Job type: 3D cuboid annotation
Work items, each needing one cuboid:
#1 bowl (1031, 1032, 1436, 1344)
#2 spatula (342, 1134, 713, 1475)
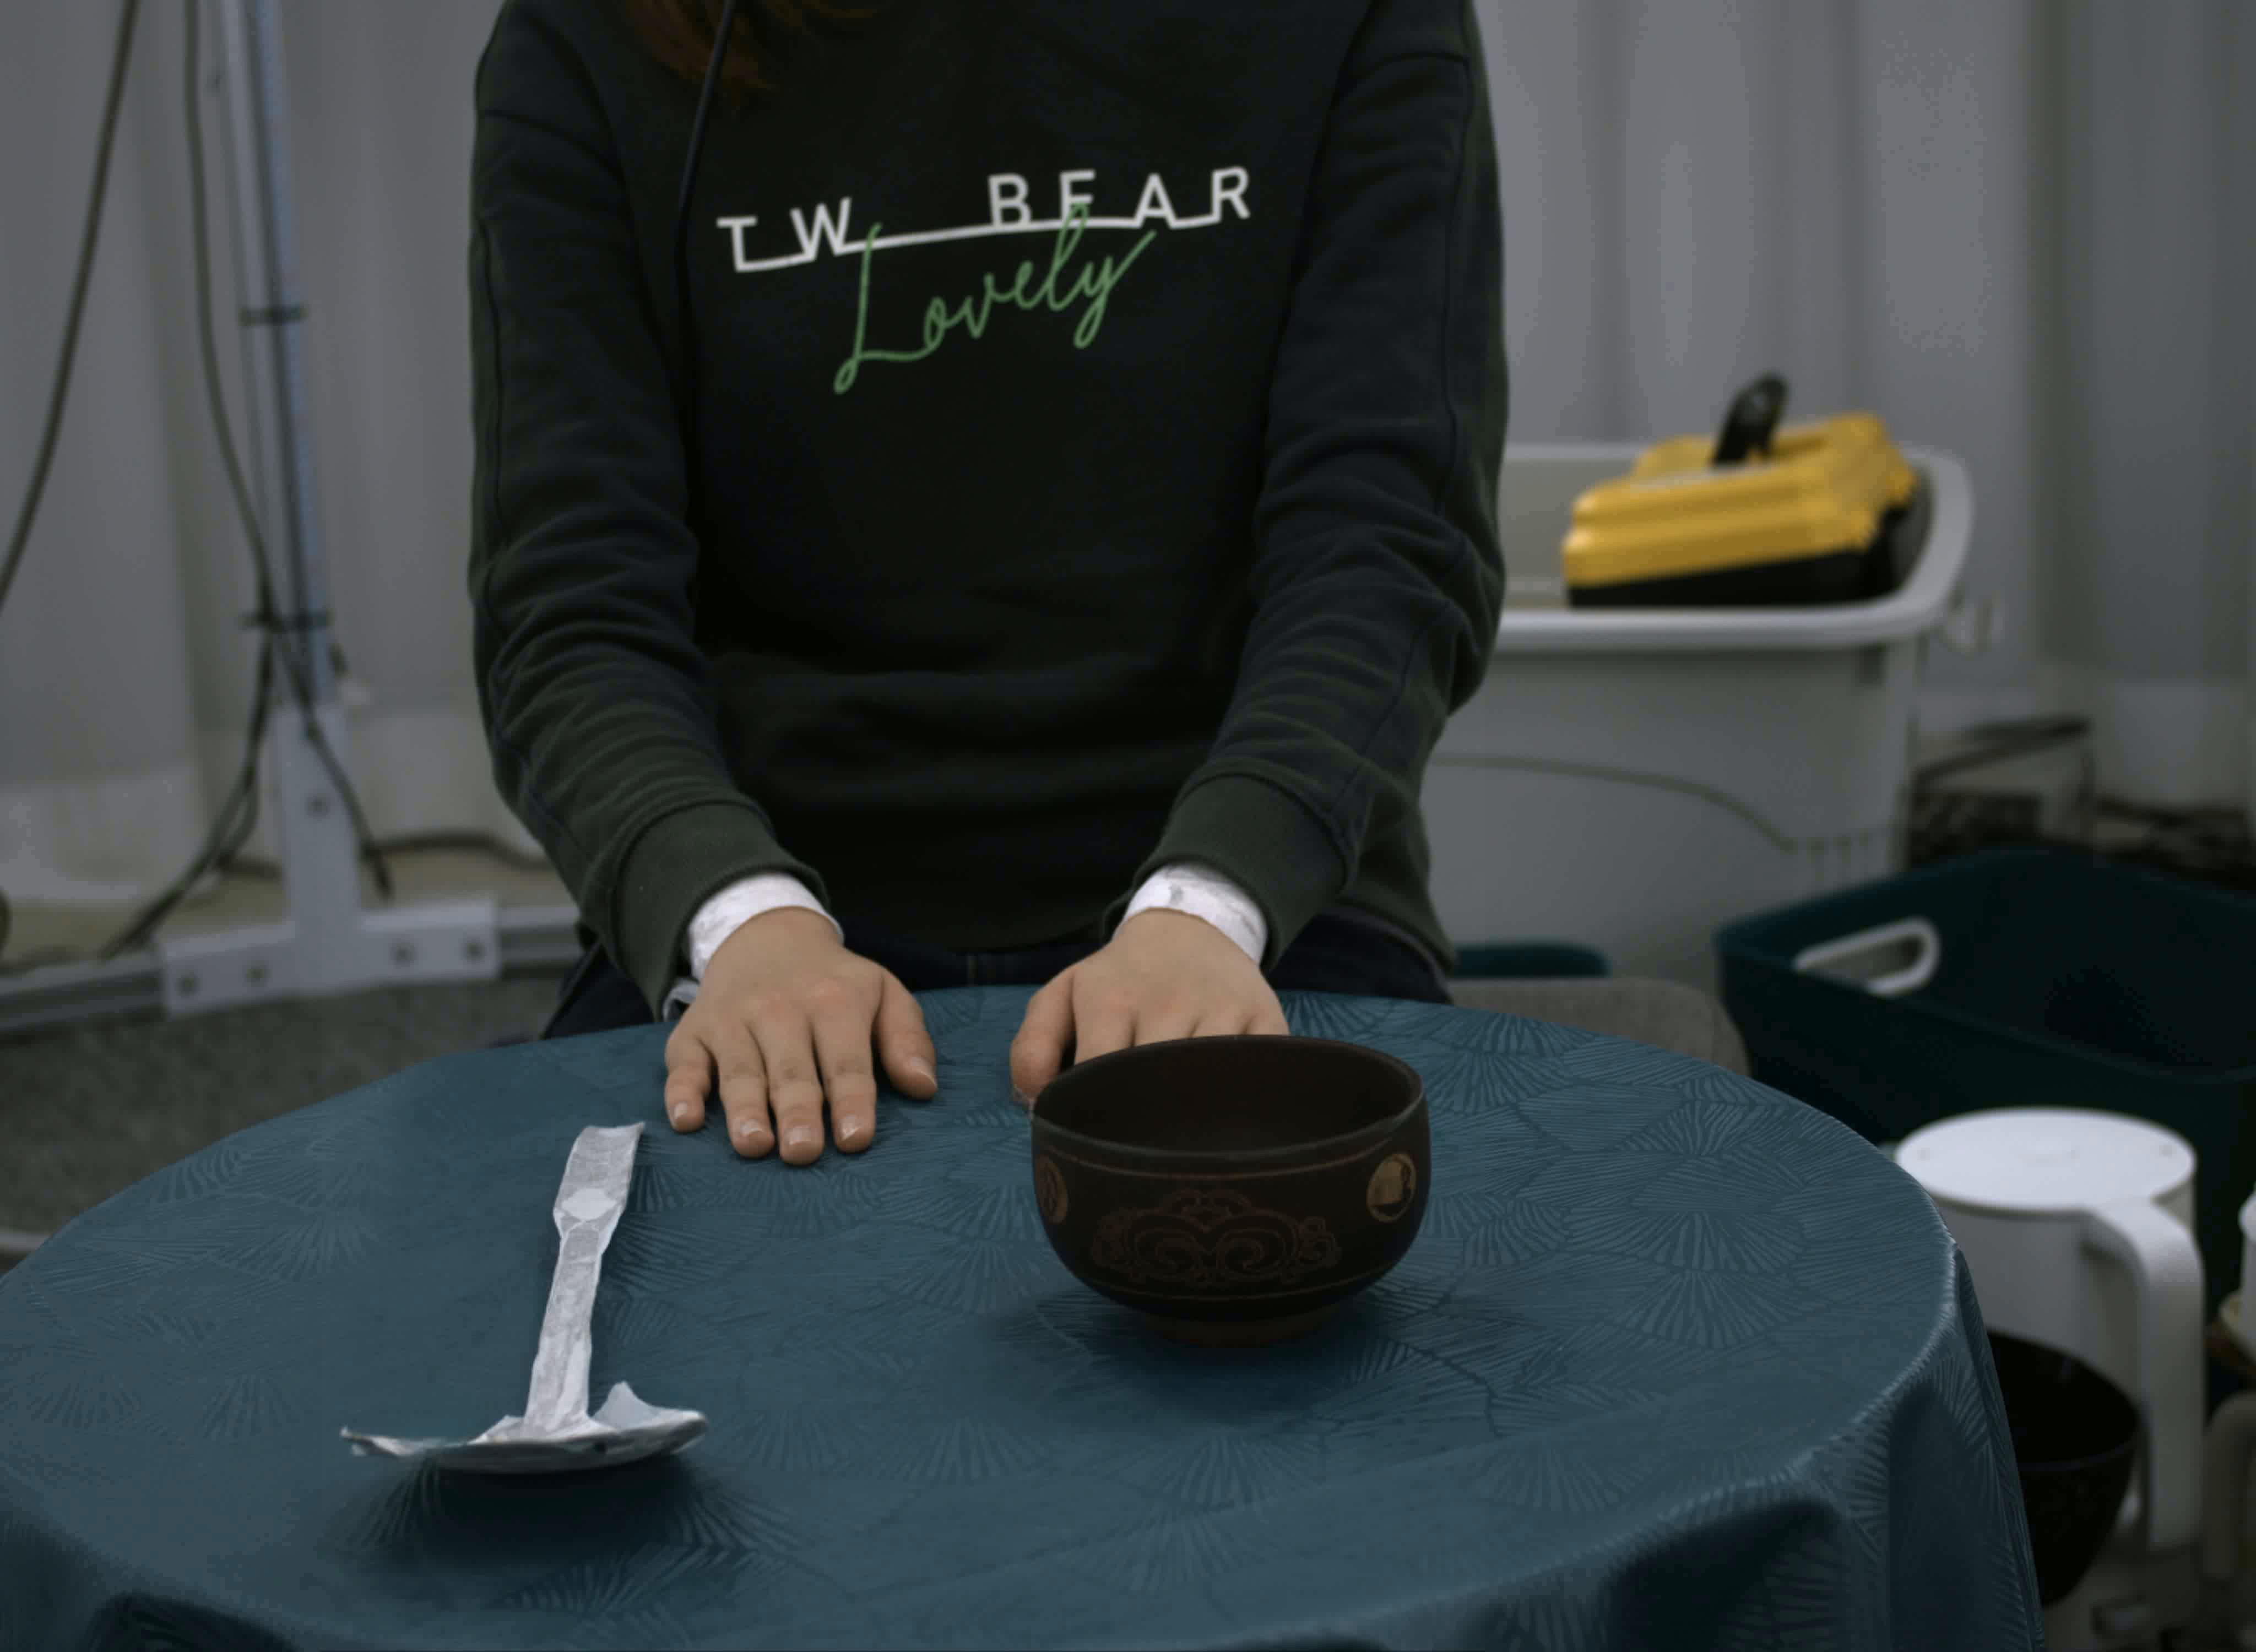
[{"bbox_3d":[0.031,0.109,1.592,0.117,0.069,0.119,-1,14,0],"label":"bowl"},{"bbox_3d":[-0.159,0.132,1.607,0.098,0.044,0.367,-5,15,1],"label":"spatula"}]
